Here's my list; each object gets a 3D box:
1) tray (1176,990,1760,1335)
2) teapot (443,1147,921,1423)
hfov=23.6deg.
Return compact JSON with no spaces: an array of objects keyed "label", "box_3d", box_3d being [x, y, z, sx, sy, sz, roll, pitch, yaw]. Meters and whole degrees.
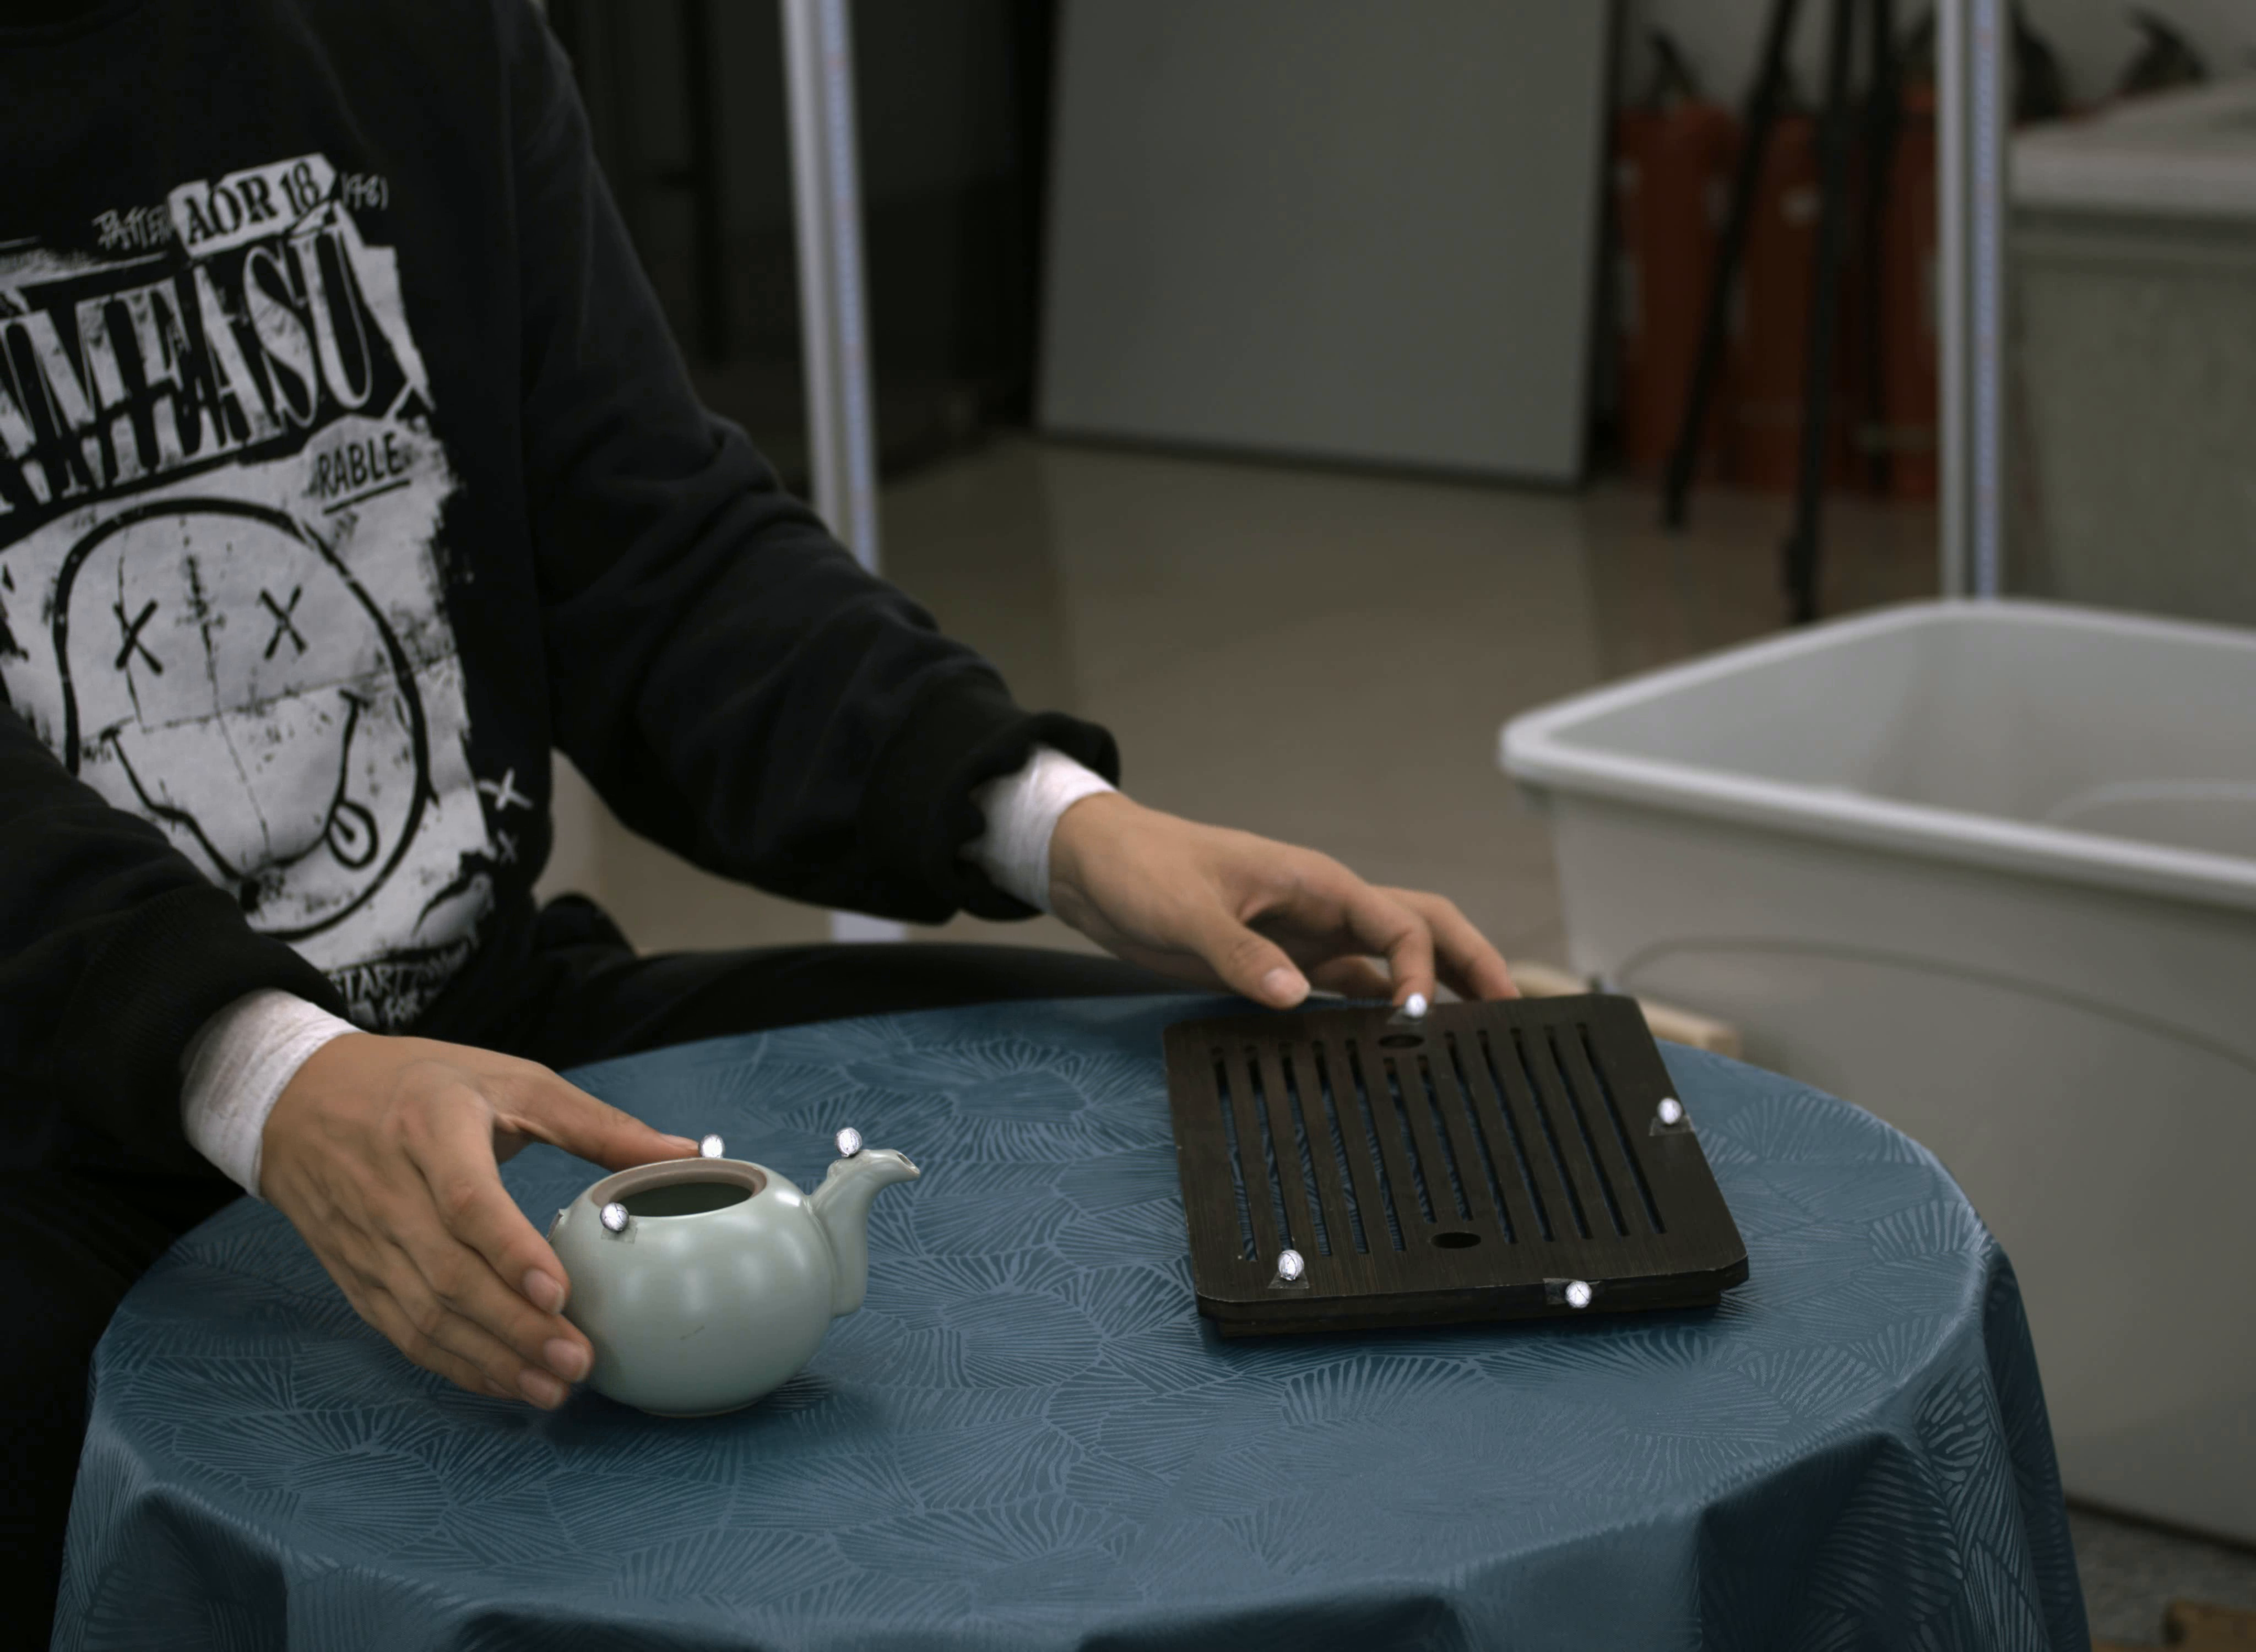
[{"label":"tray","box_3d":[0.104,0.107,1.760,0.168,0.019,0.306,-5,14,0]},{"label":"teapot","box_3d":[-0.130,0.135,1.604,0.142,0.075,0.088,-3,14,-1]}]
